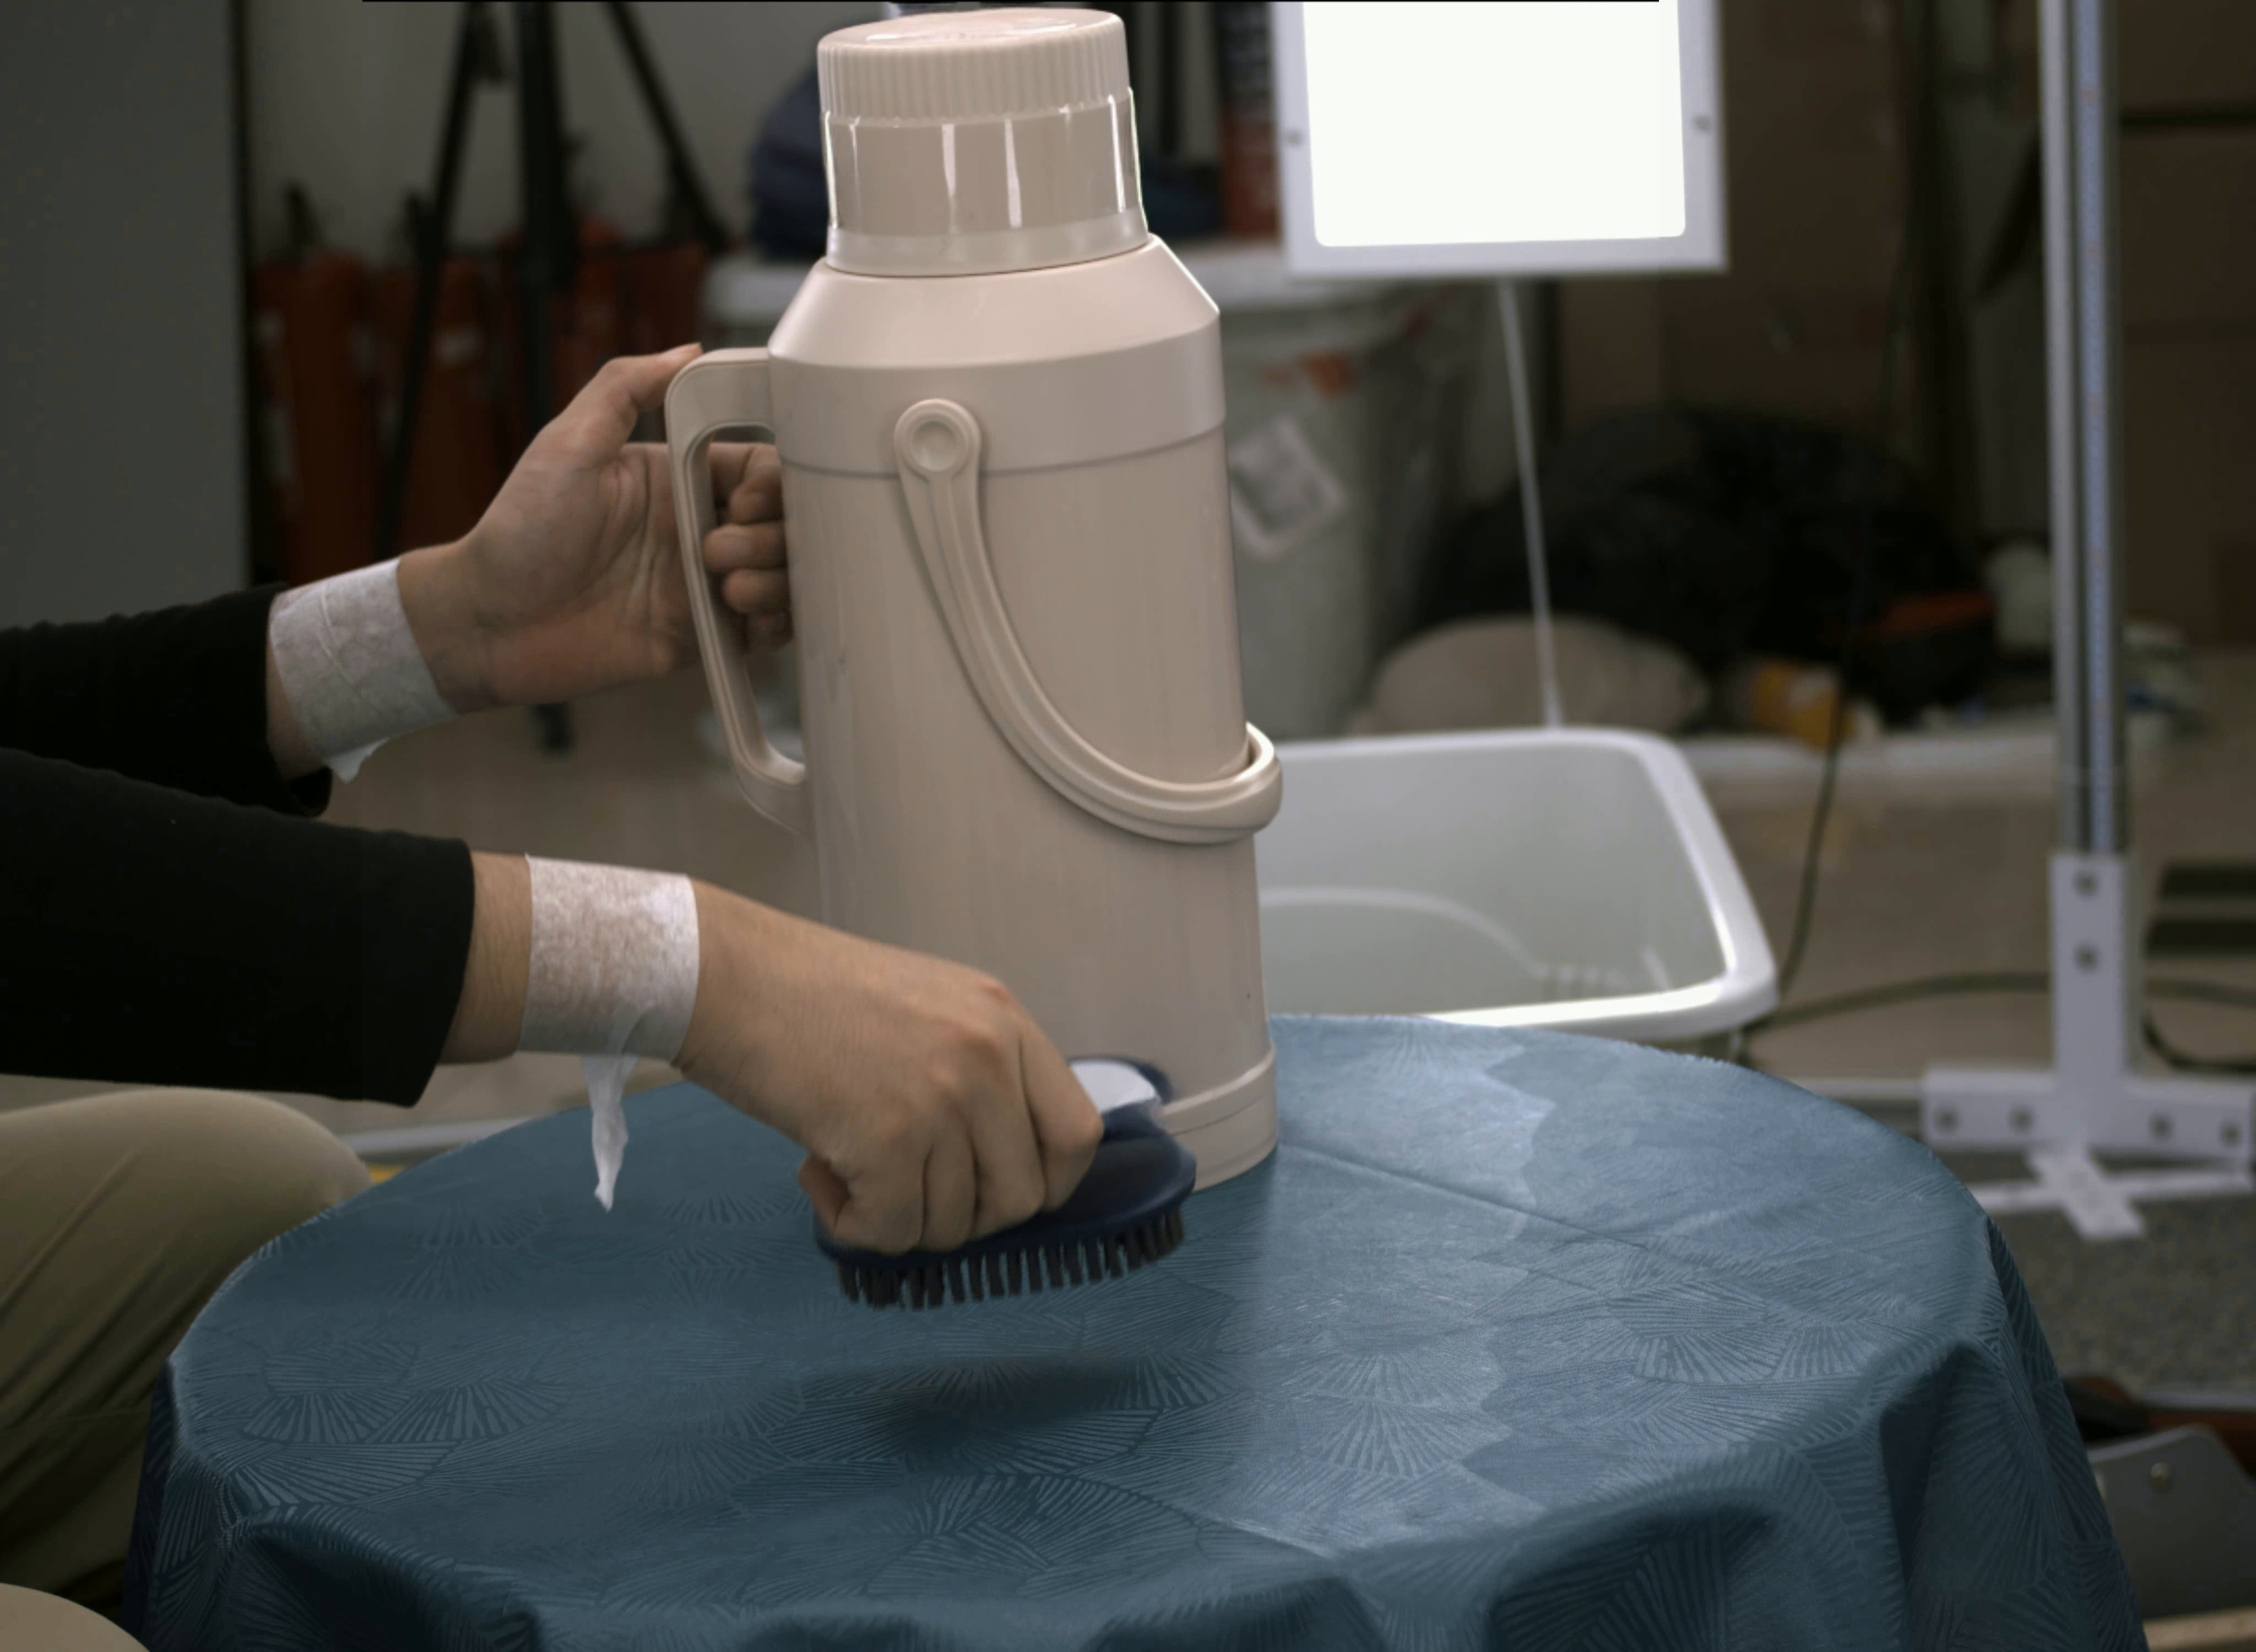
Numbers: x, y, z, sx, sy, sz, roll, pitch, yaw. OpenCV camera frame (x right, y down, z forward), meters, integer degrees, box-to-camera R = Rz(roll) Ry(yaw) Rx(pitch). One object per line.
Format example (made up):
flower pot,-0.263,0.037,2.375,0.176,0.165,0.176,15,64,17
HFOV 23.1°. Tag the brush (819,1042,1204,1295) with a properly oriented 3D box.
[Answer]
brush,-0.036,0.108,1.707,0.121,0.061,0.067,-9,21,4

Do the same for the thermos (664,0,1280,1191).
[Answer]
thermos,-0.053,-0.077,1.913,0.209,0.408,0.173,-1,16,14
